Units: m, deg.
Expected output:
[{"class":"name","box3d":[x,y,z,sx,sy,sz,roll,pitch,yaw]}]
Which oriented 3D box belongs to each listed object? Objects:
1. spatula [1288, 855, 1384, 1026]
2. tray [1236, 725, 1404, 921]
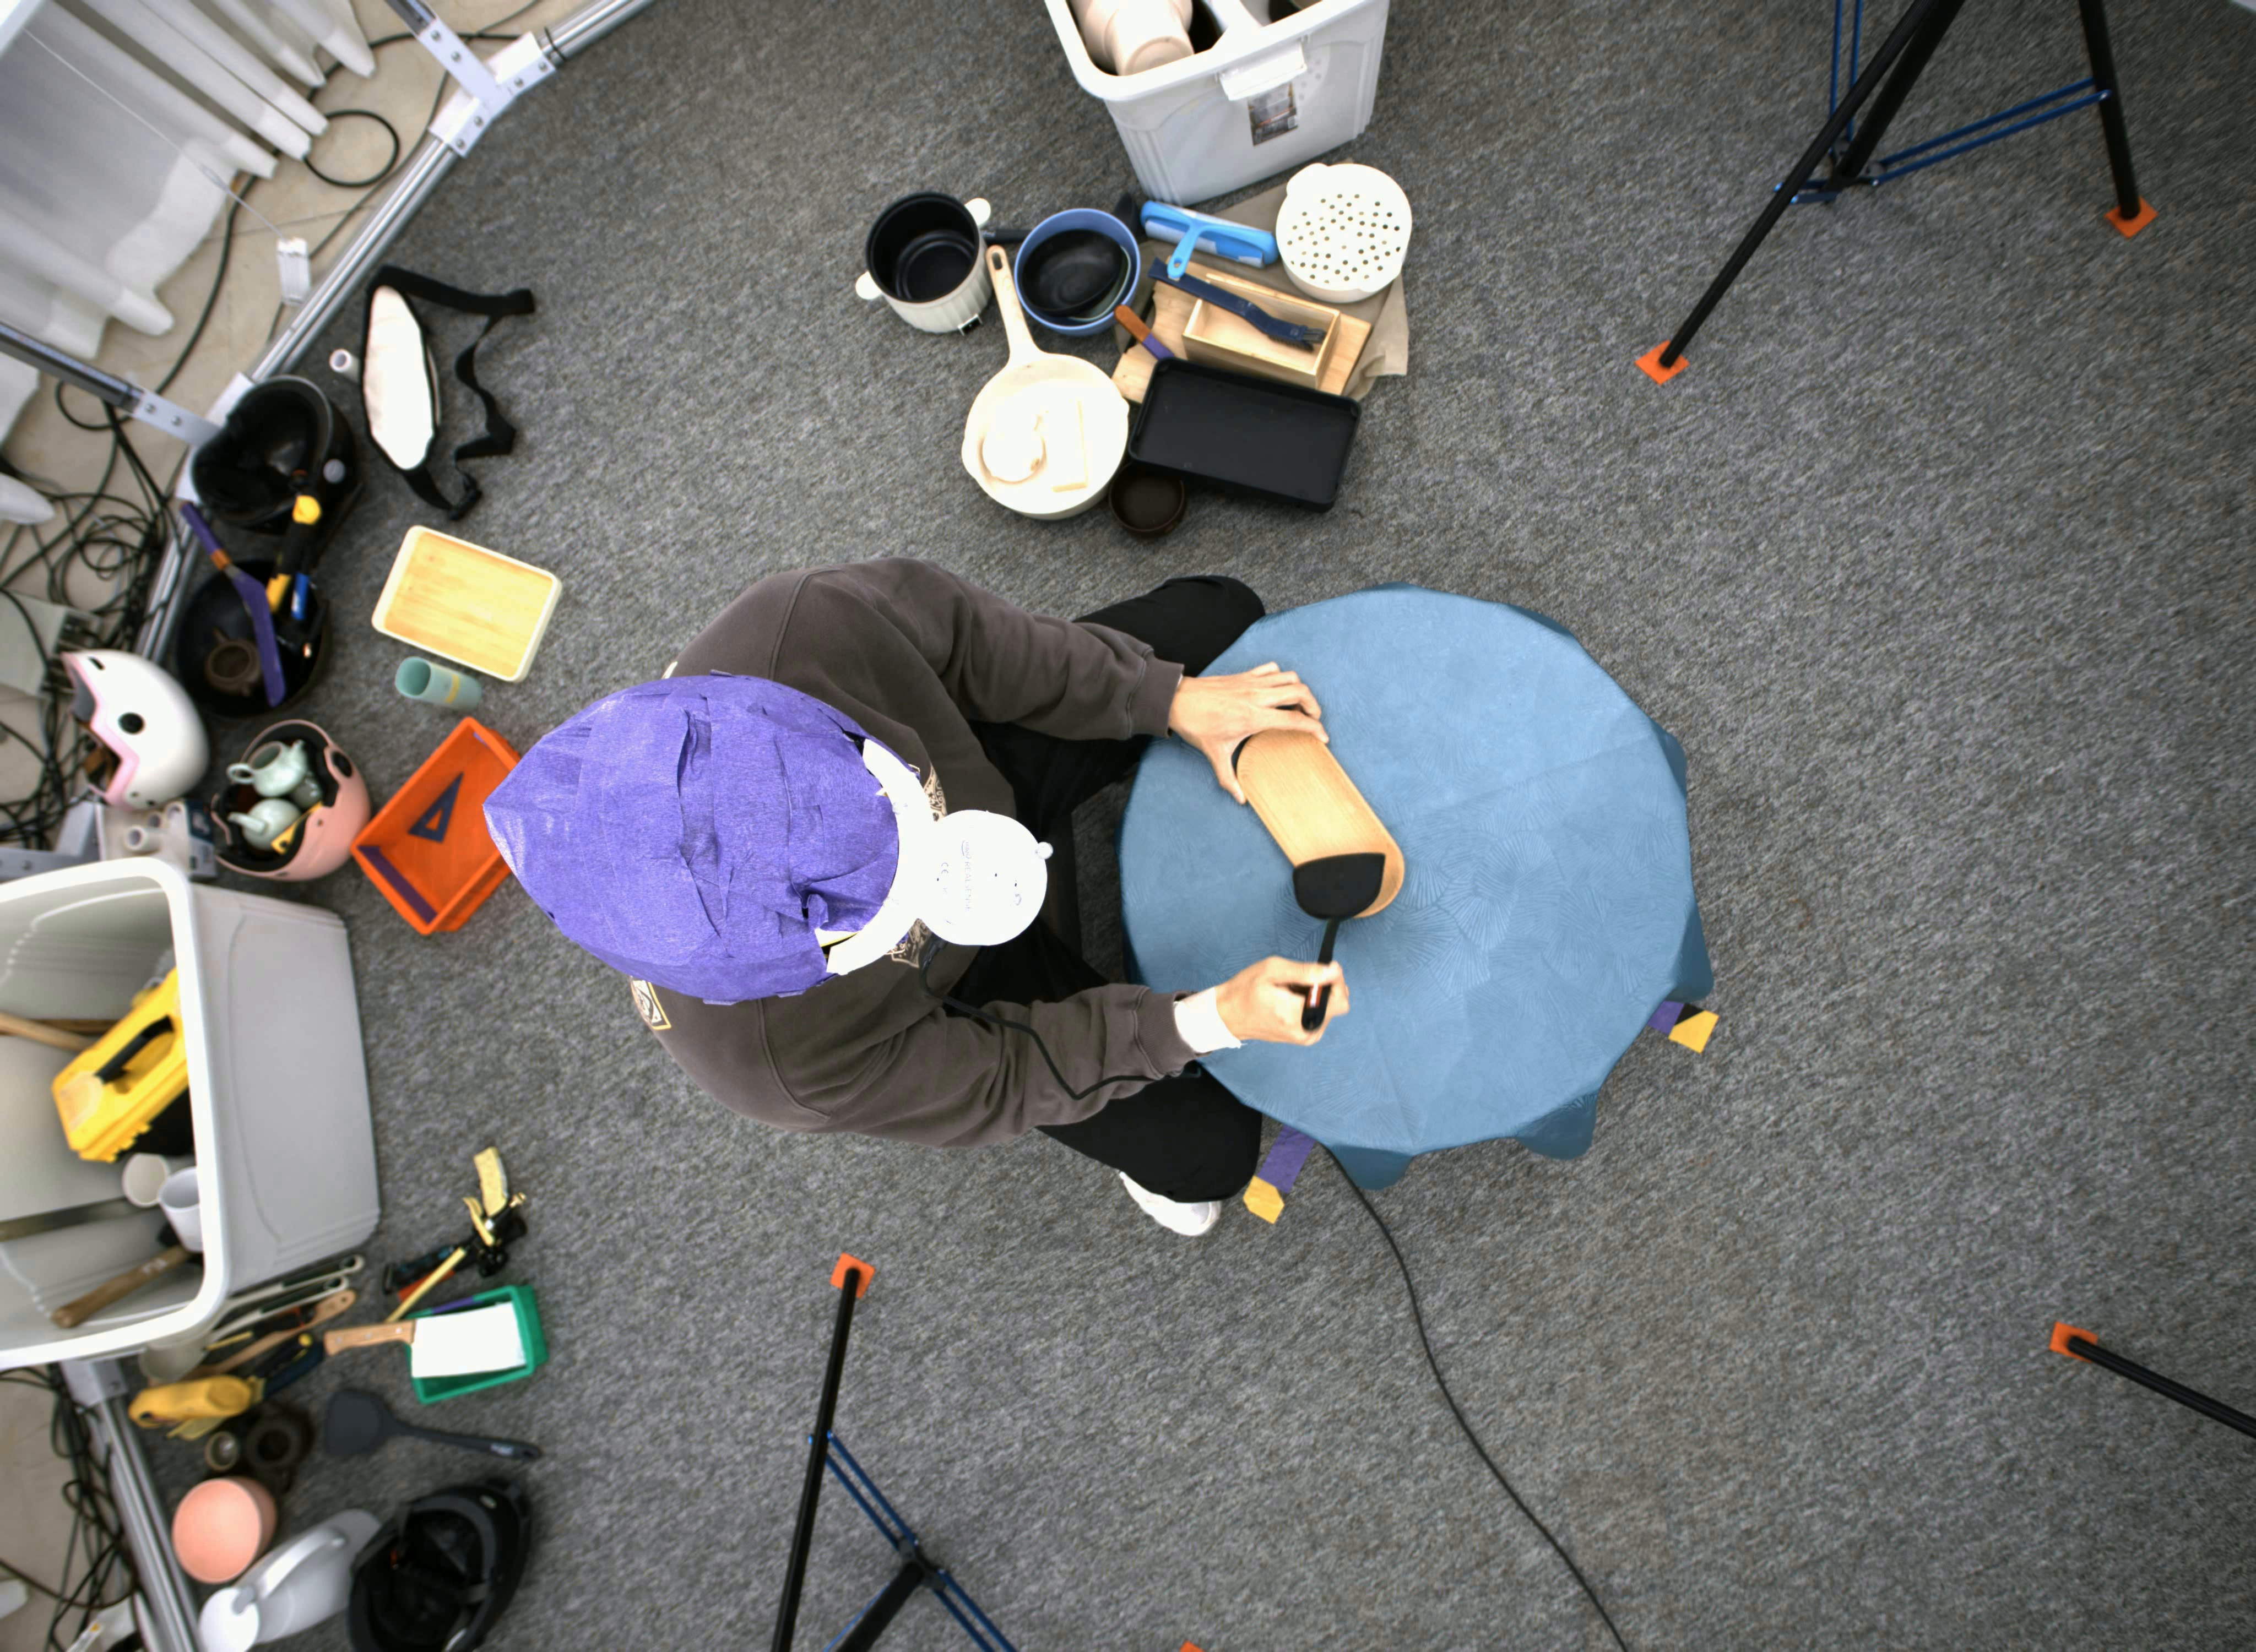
[{"class":"spatula","box3d":[0.184,0.100,1.291,0.100,0.320,0.041,-11,105,18]},{"class":"tray","box3d":[0.202,-0.005,1.465,0.102,0.020,0.230,-35,84,7]}]
